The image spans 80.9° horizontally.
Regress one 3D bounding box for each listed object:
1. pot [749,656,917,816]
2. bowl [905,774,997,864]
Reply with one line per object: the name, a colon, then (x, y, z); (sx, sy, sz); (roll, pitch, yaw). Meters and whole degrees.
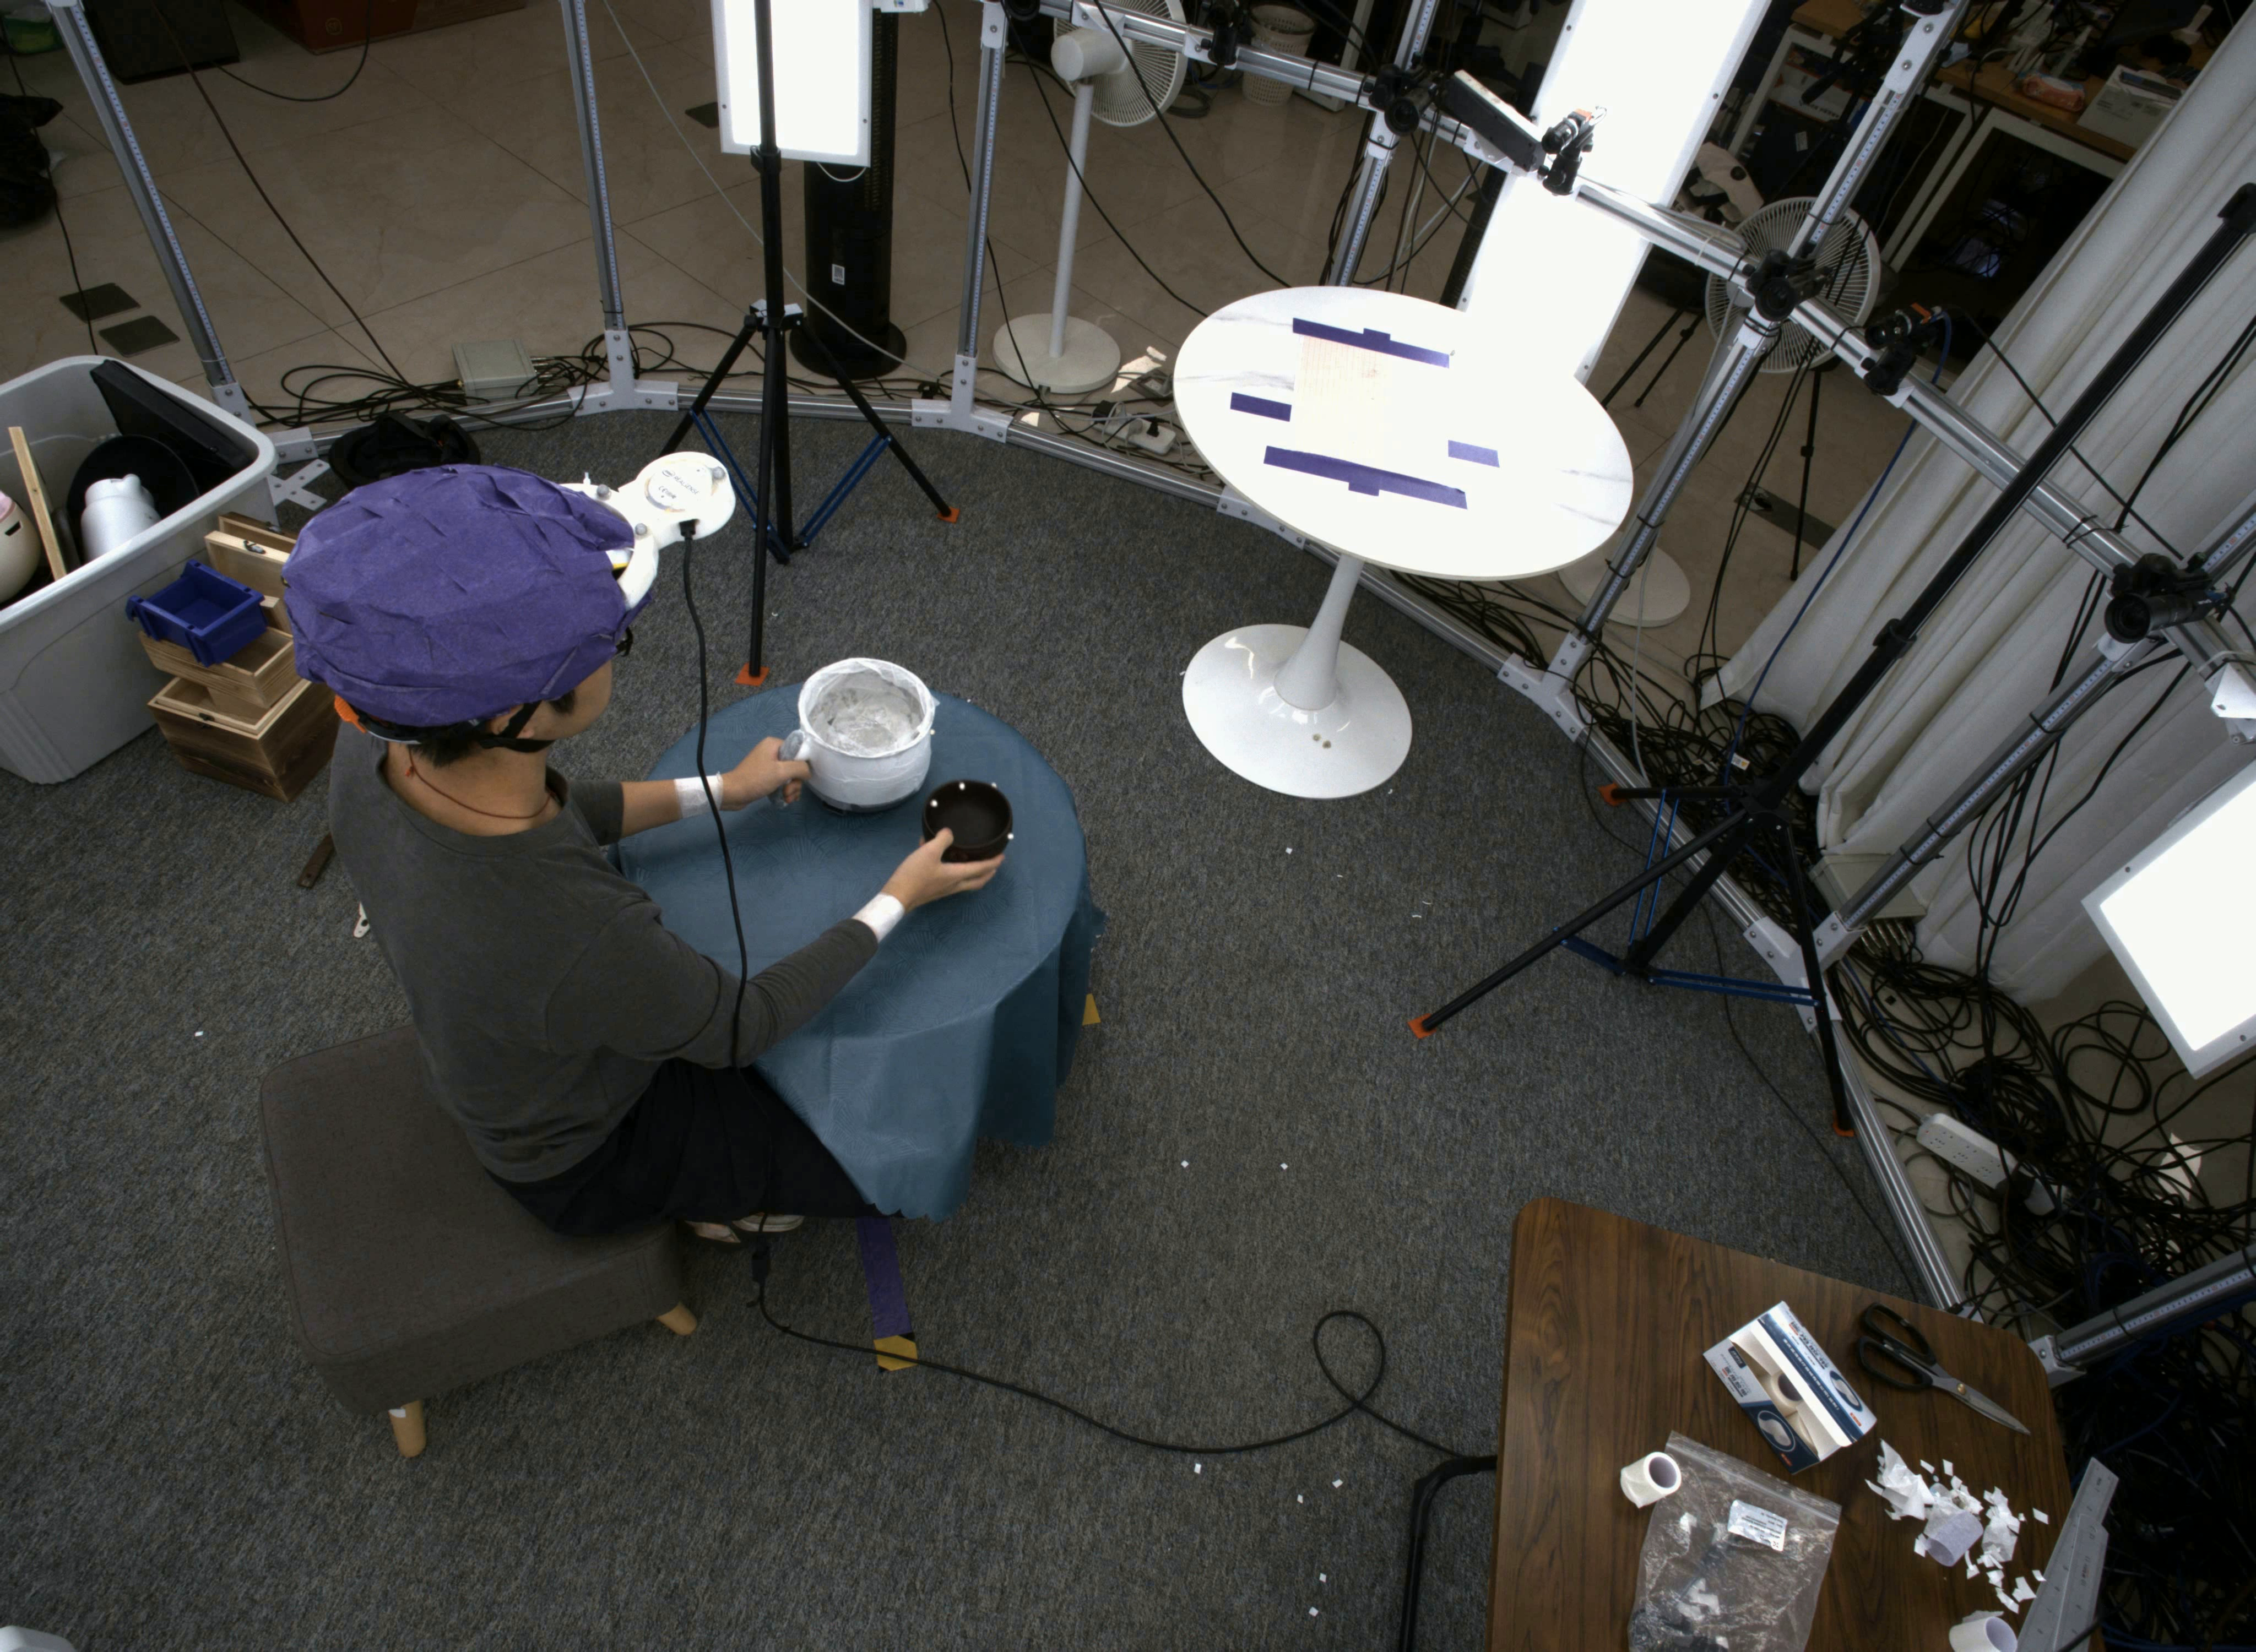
pot: (-0.397, -0.107, 1.730); (0.234, 0.139, 0.174); (-30, 65, -32)
bowl: (-0.230, -0.002, 1.695); (0.117, 0.071, 0.116); (6, 55, -6)
